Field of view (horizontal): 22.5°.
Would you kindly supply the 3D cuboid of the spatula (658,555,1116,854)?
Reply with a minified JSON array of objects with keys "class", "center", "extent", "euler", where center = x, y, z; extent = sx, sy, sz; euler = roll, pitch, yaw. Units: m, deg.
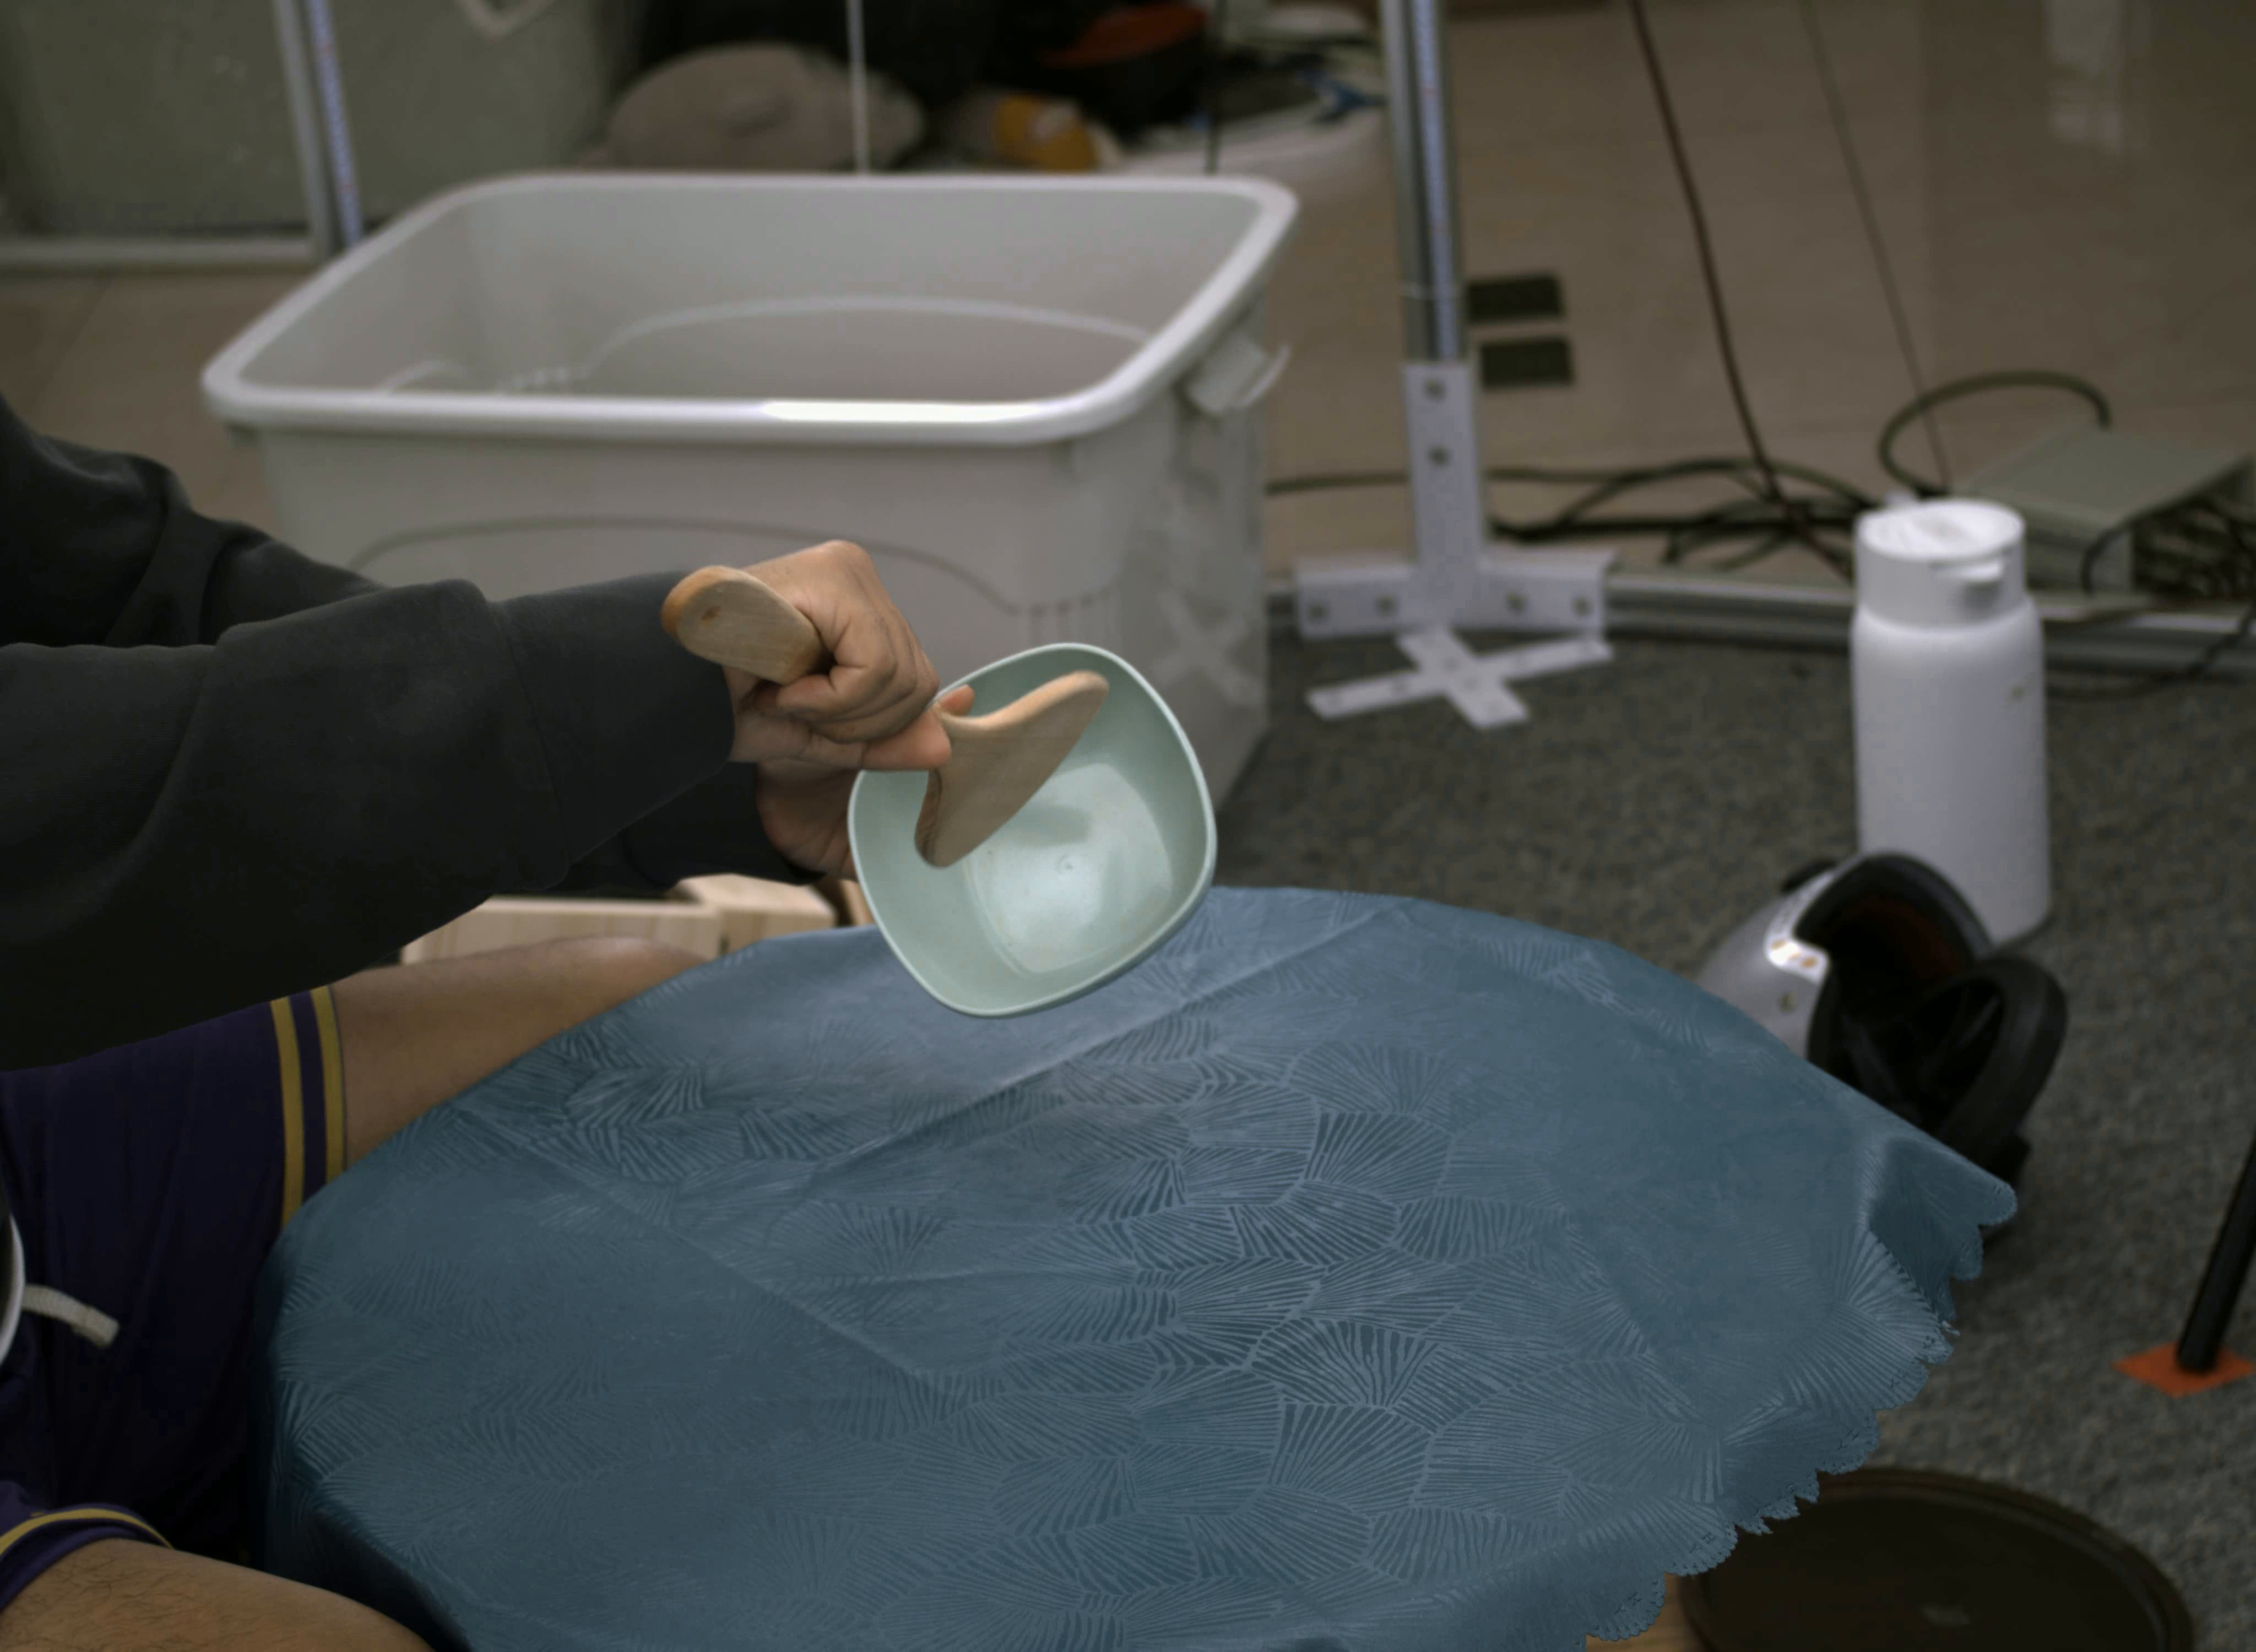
[{"class":"spatula","center":[-0.082,-0.051,1.933],"extent":[0.018,0.096,0.393],"euler":[41,4,19]}]

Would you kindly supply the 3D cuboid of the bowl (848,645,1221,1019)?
[{"class":"bowl","center":[-0.029,0.010,2.174],"extent":[0.151,0.150,0.059],"euler":[2,-17,17]}]
